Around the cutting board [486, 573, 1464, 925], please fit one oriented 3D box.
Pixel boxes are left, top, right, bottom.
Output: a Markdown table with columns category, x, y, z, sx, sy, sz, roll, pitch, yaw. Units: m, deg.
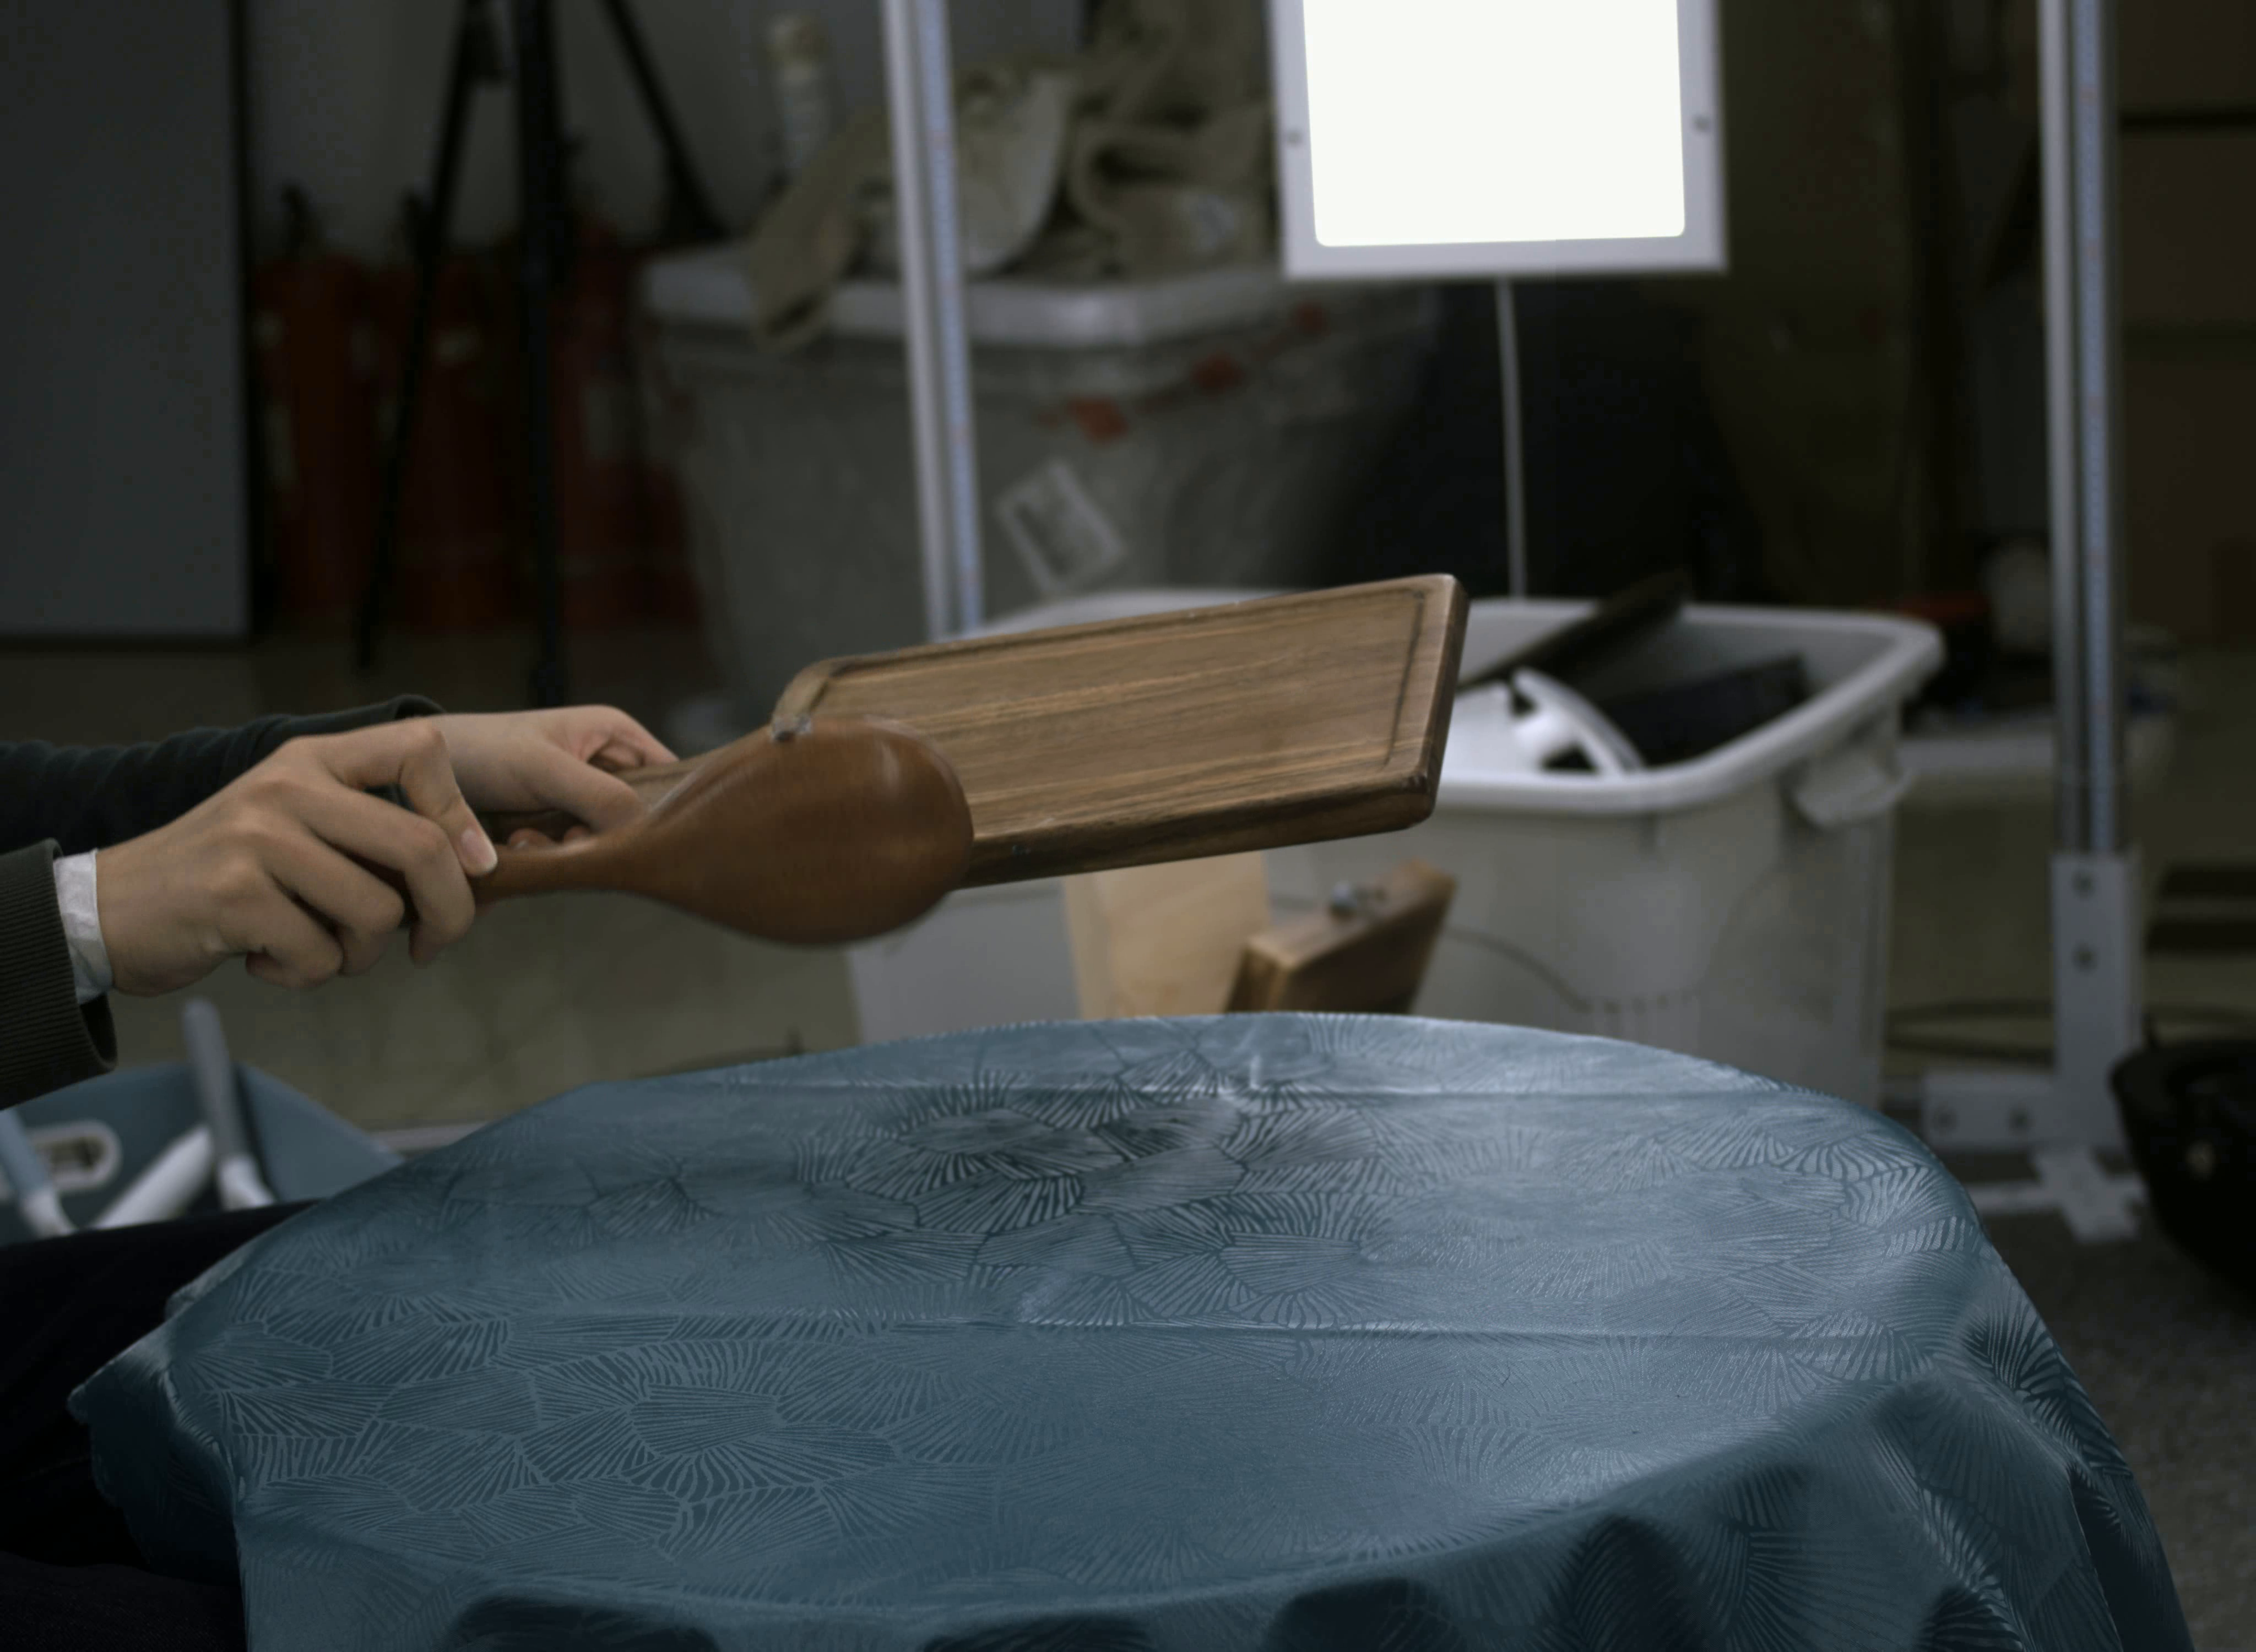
| category | x | y | z | sx | sy | sz | roll | pitch | yaw |
| --- | --- | --- | --- | --- | --- | --- | --- | --- | --- |
| cutting board | -0.058 | -0.023 | 1.946 | 0.355 | 0.023 | 0.199 | -8 | 23 | 13 |

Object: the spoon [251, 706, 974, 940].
| category | x | y | z | sx | sy | sz | roll | pitch | yaw |
| --- | --- | --- | --- | --- | --- | --- | --- | --- | --- |
| spoon | -0.152 | 0.008 | 1.631 | 0.215 | 0.076 | 0.017 | -7 | 30 | 1 |
